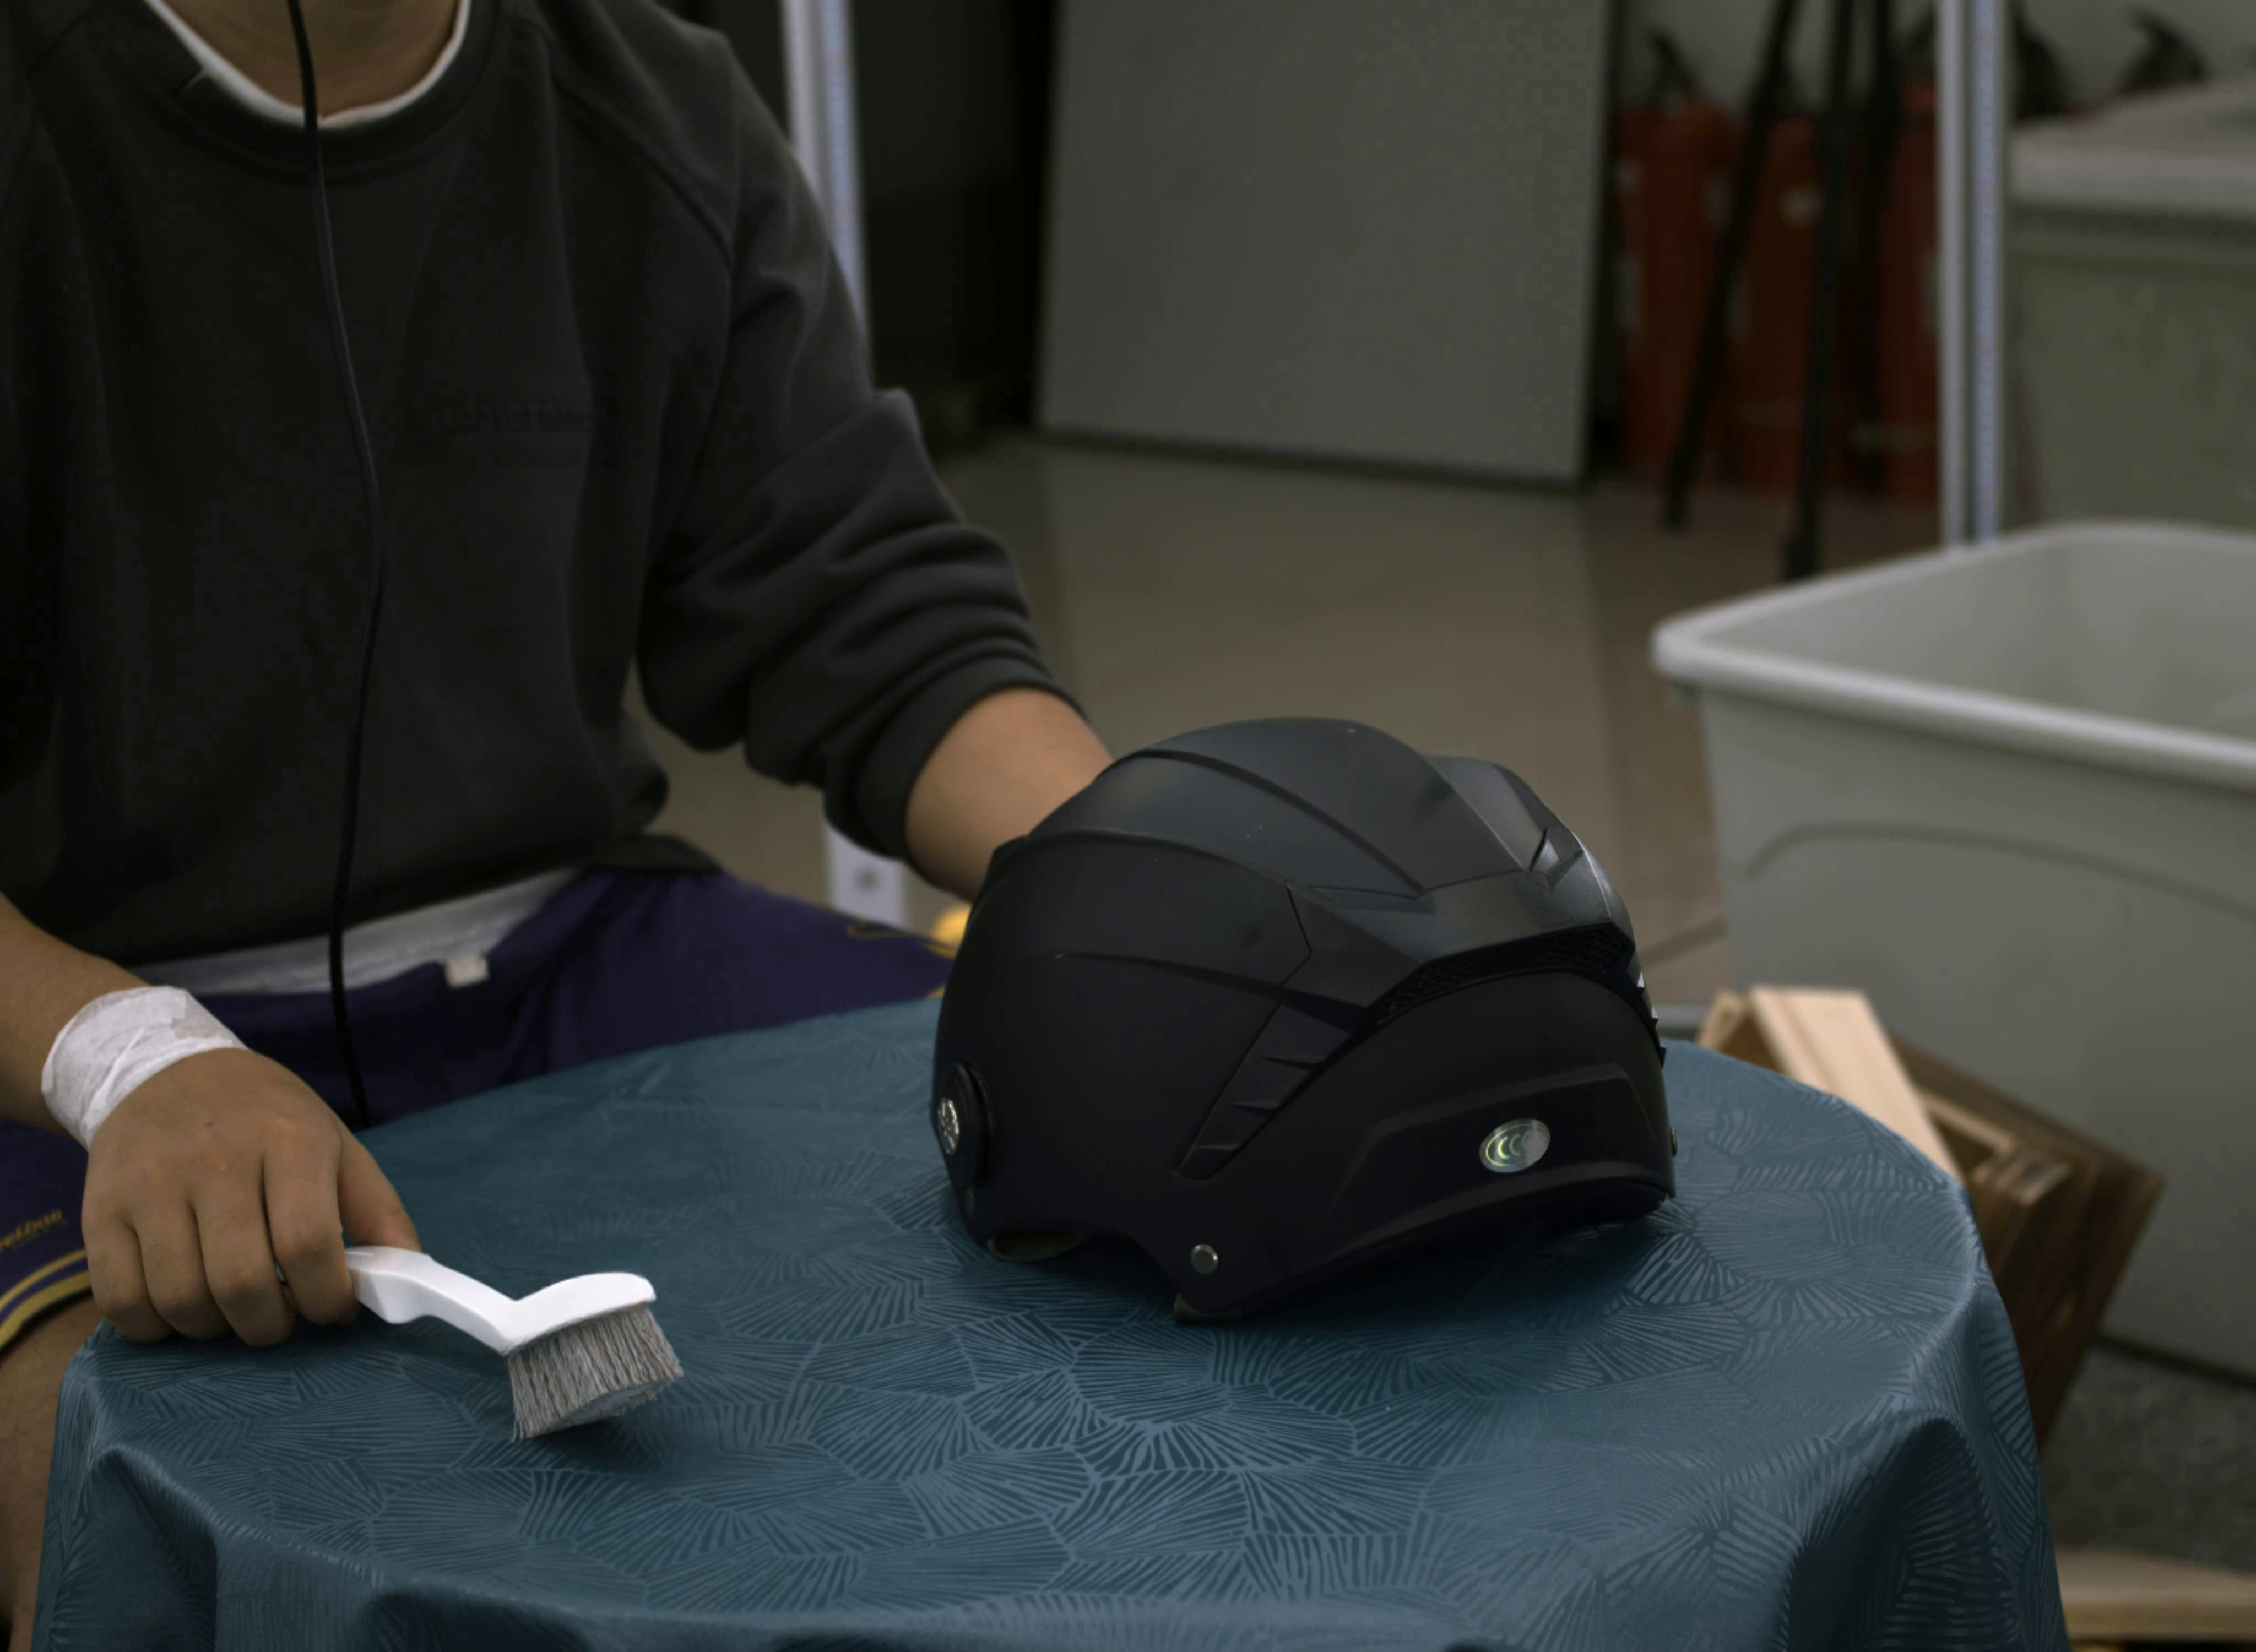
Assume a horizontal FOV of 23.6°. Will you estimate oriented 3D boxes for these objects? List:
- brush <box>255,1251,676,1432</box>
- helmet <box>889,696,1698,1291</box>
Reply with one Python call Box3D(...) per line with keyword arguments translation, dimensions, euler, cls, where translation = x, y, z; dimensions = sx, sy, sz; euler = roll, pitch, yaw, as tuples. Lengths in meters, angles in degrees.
Box3D(translation=(-0.204, 0.156, 1.638), dimensions=(0.033, 0.051, 0.246), euler=(-12, 2, -32), cls="brush")
Box3D(translation=(0.055, 0.046, 1.725), dimensions=(0.241, 0.174, 0.279), euler=(-10, 18, -26), cls="helmet")
